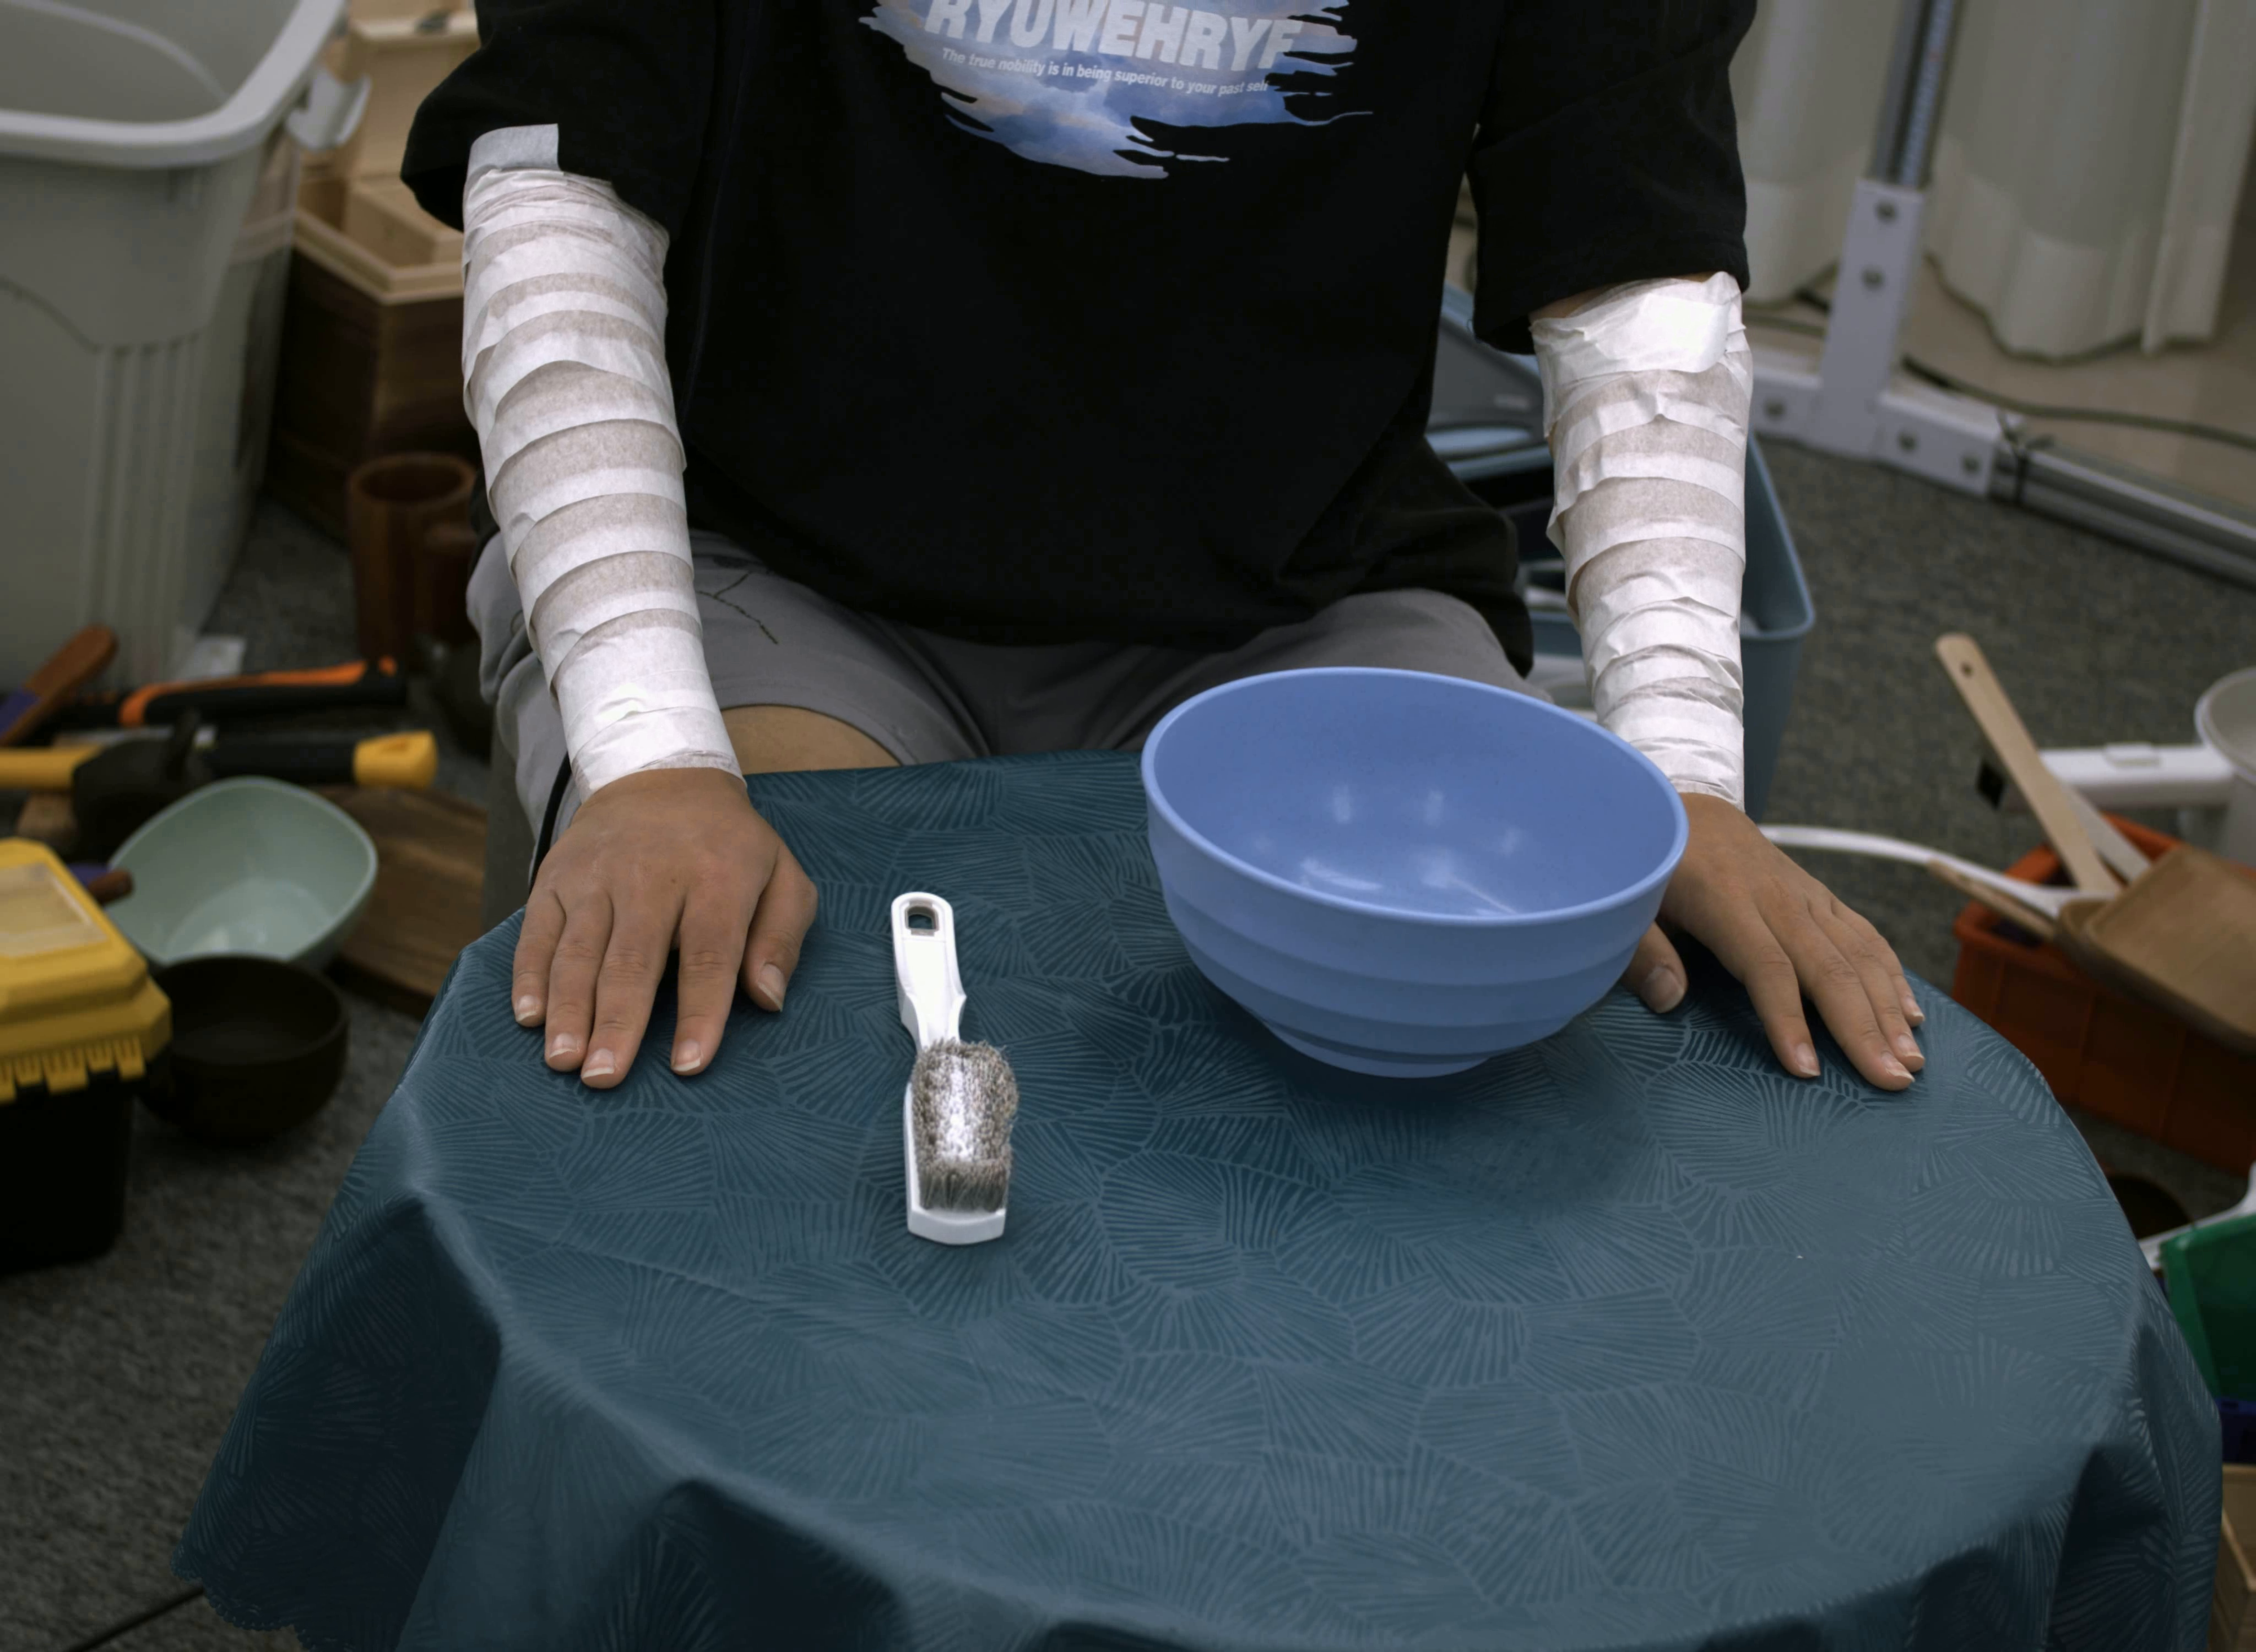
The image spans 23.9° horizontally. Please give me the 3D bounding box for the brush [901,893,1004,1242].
[{"bbox_3d":[-0.061,0.066,1.849,0.034,0.050,0.245,2,27,-3],"label":"brush"}]

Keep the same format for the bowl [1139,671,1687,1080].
[{"bbox_3d":[0.097,0.028,1.912,0.196,0.095,0.197,4,27,-3],"label":"bowl"}]
